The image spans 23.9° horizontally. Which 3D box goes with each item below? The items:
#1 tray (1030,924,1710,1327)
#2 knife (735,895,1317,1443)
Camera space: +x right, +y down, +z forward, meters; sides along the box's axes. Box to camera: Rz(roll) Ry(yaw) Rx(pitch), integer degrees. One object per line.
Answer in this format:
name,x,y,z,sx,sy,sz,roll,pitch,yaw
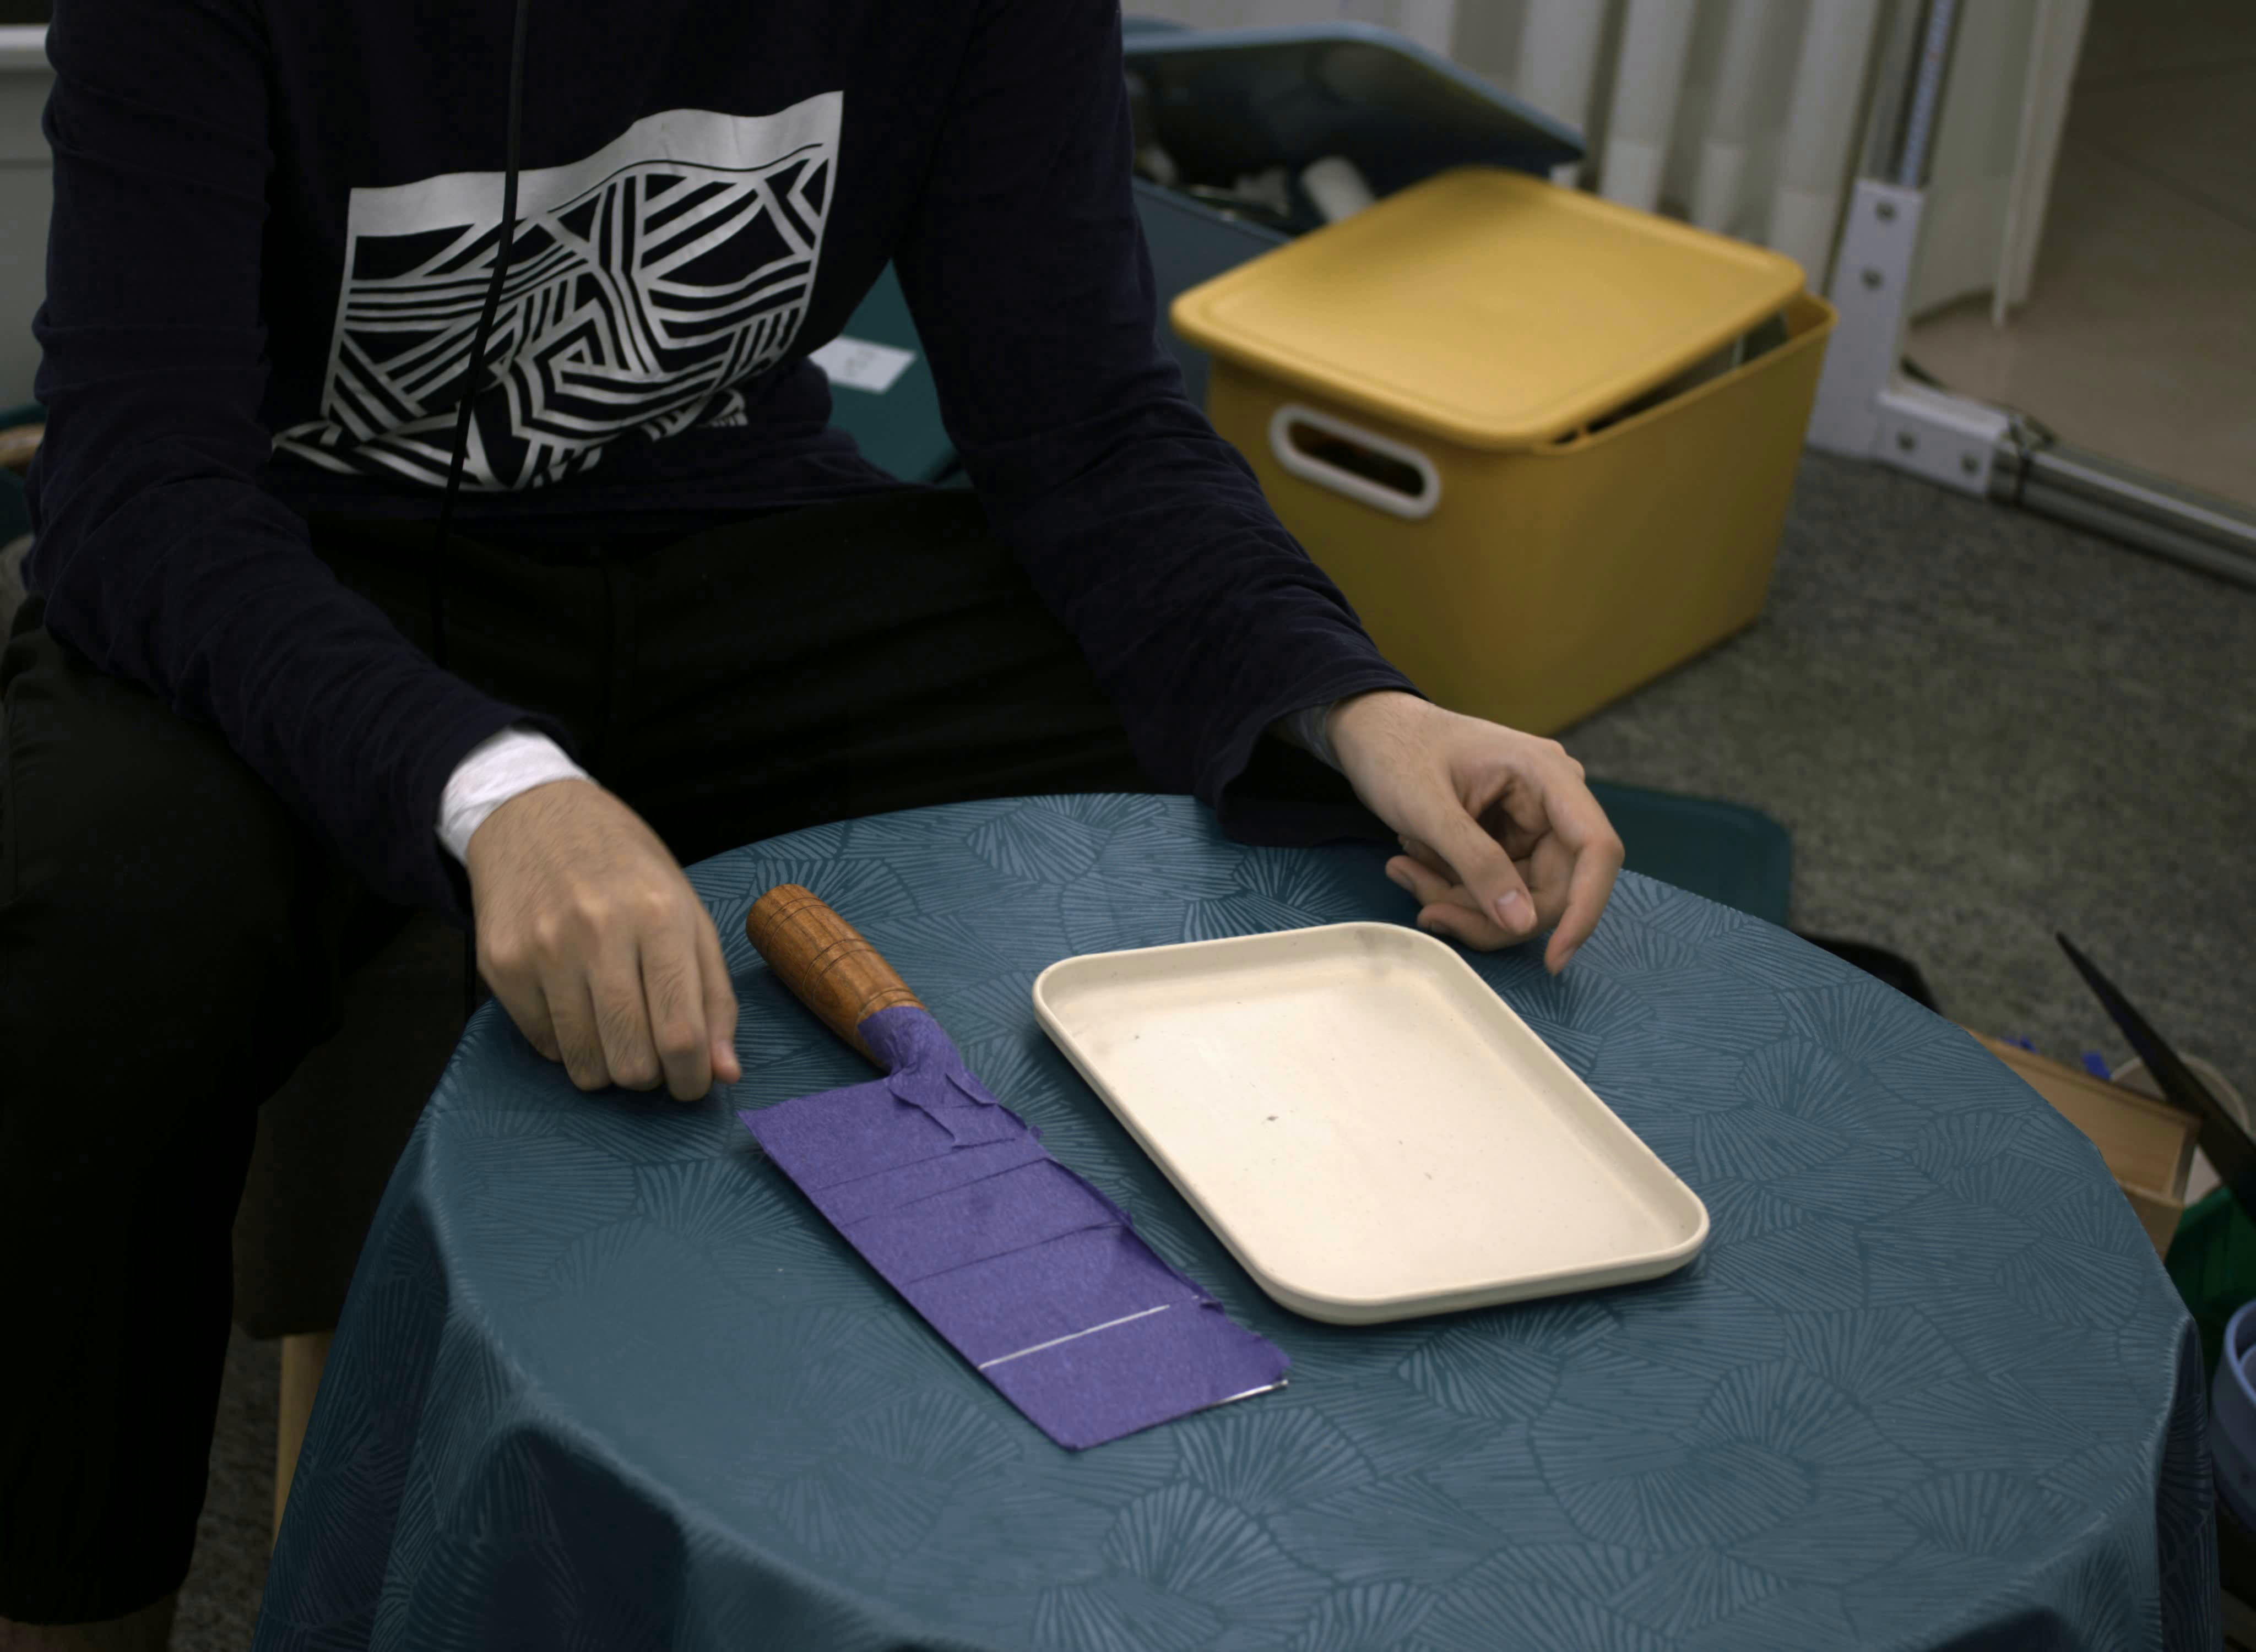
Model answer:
tray,0.080,0.102,1.847,0.170,0.017,0.242,-7,29,-24
knife,-0.066,0.110,1.787,0.103,0.032,0.318,-12,32,-33
